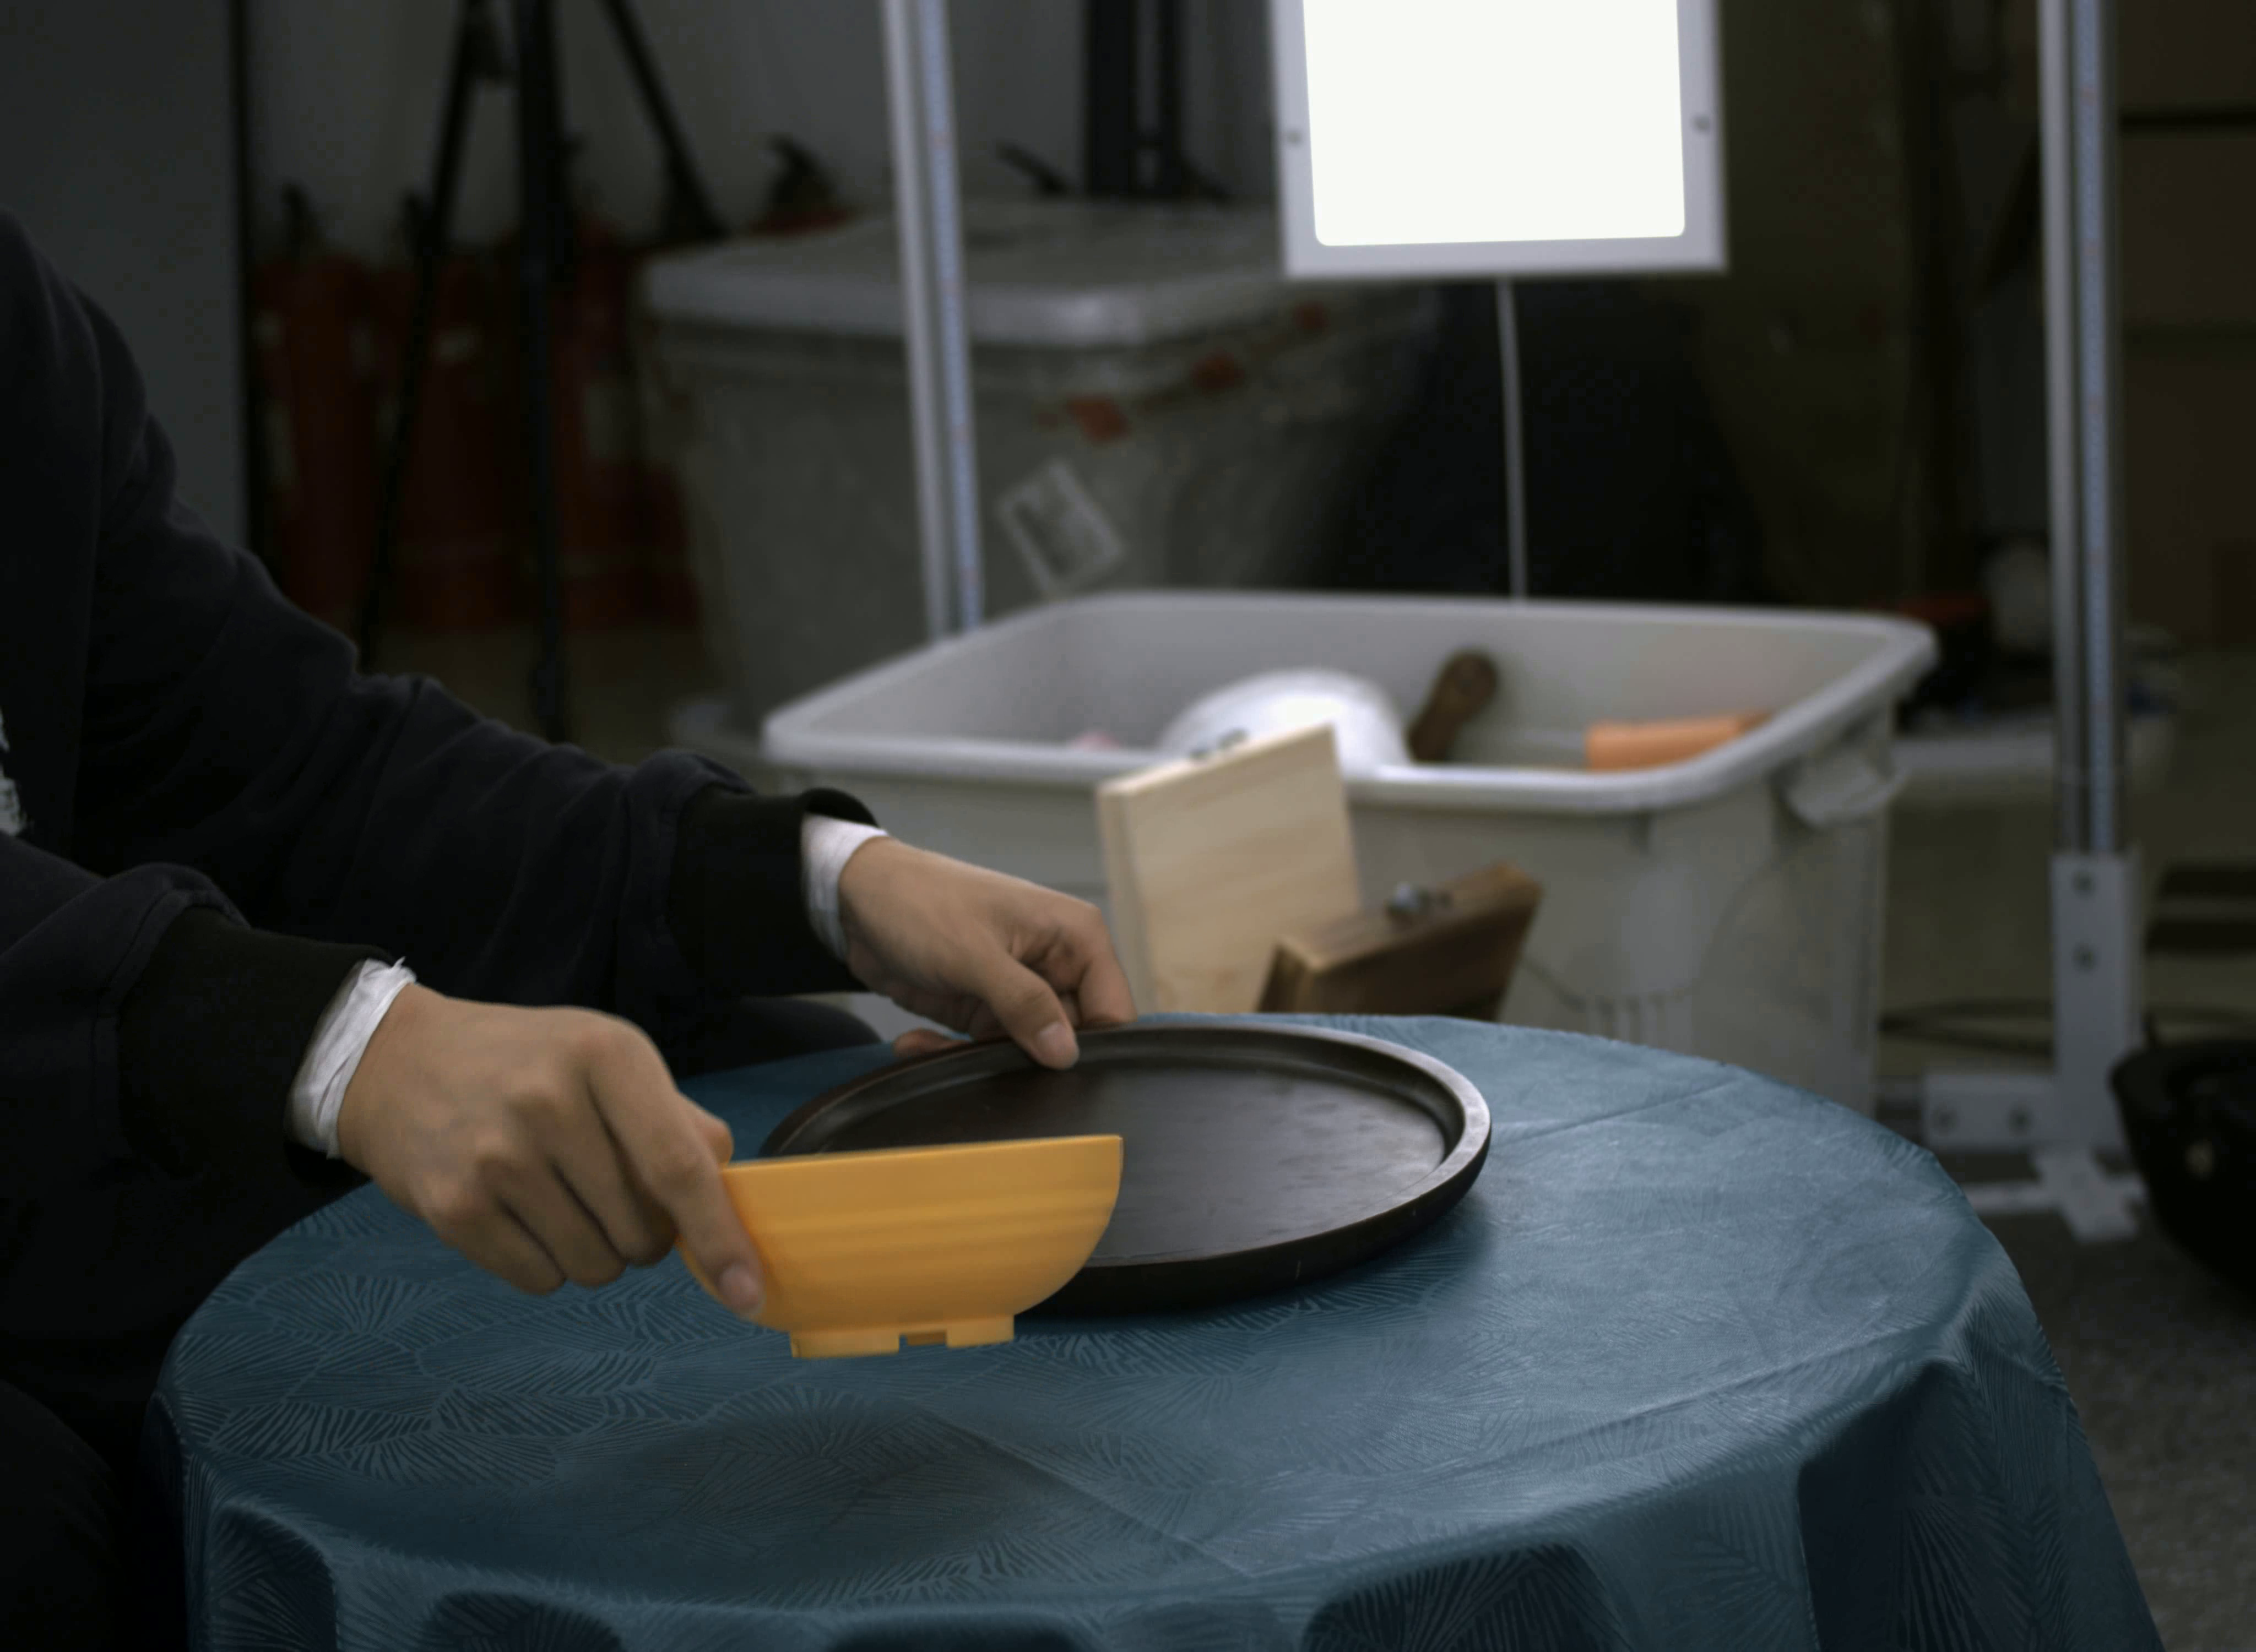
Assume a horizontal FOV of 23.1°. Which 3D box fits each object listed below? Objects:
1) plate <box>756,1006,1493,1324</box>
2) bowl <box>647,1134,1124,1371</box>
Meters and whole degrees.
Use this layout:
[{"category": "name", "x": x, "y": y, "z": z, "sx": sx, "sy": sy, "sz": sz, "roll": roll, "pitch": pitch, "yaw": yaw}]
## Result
[{"category": "plate", "x": 0.000, "y": 0.116, "z": 1.879, "sx": 0.254, "sy": 0.029, "sz": 0.254, "roll": -6, "pitch": 17, "yaw": 0}, {"category": "bowl", "x": -0.068, "y": 0.129, "z": 1.637, "sx": 0.145, "sy": 0.060, "sz": 0.145, "roll": -7, "pitch": -4, "yaw": -2}]
